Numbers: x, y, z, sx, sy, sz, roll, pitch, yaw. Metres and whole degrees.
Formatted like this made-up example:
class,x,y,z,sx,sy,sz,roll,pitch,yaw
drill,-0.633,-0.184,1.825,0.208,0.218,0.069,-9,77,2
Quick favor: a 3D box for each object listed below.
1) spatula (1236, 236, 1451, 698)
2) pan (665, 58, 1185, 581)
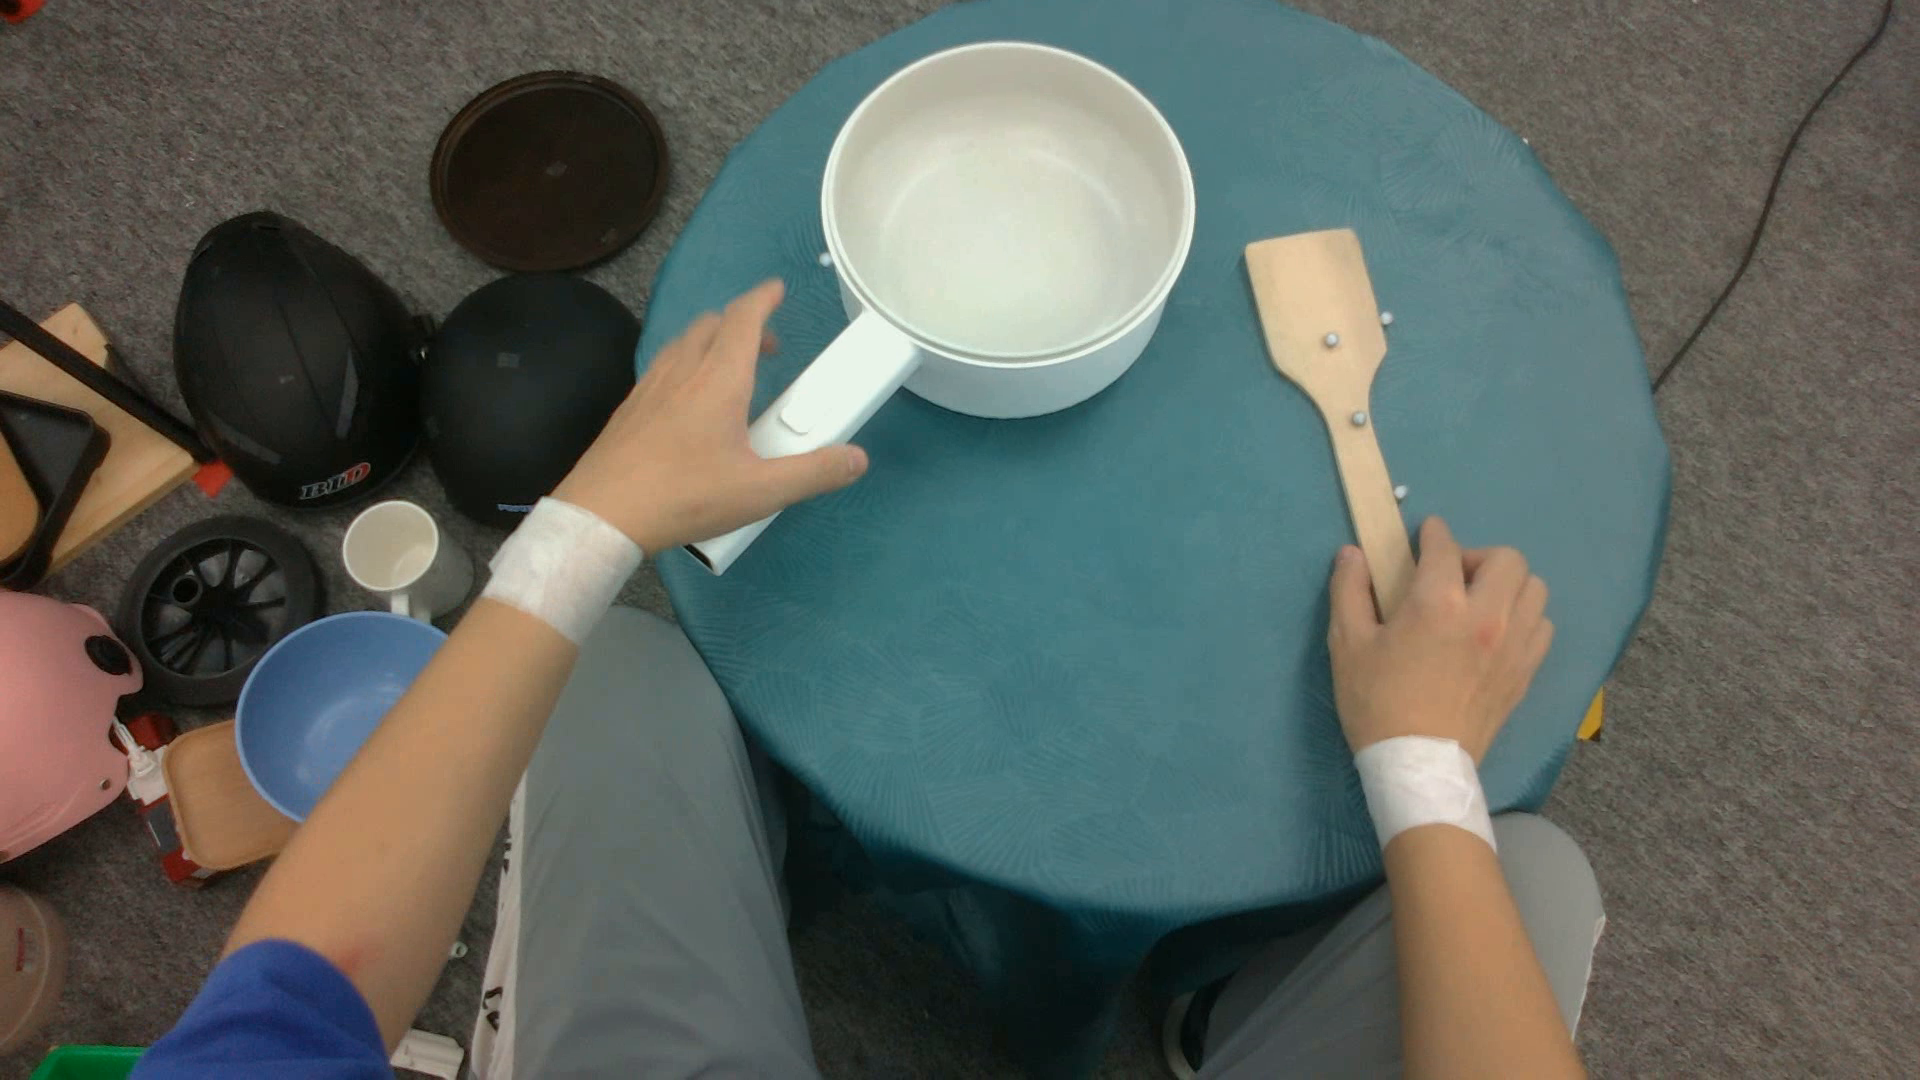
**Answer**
class,x,y,z,sx,sy,sz,roll,pitch,yaw
spatula,0.231,-0.049,0.801,0.072,0.010,0.294,-10,69,-4
pan,-0.025,-0.111,0.778,0.201,0.102,0.356,37,74,10
